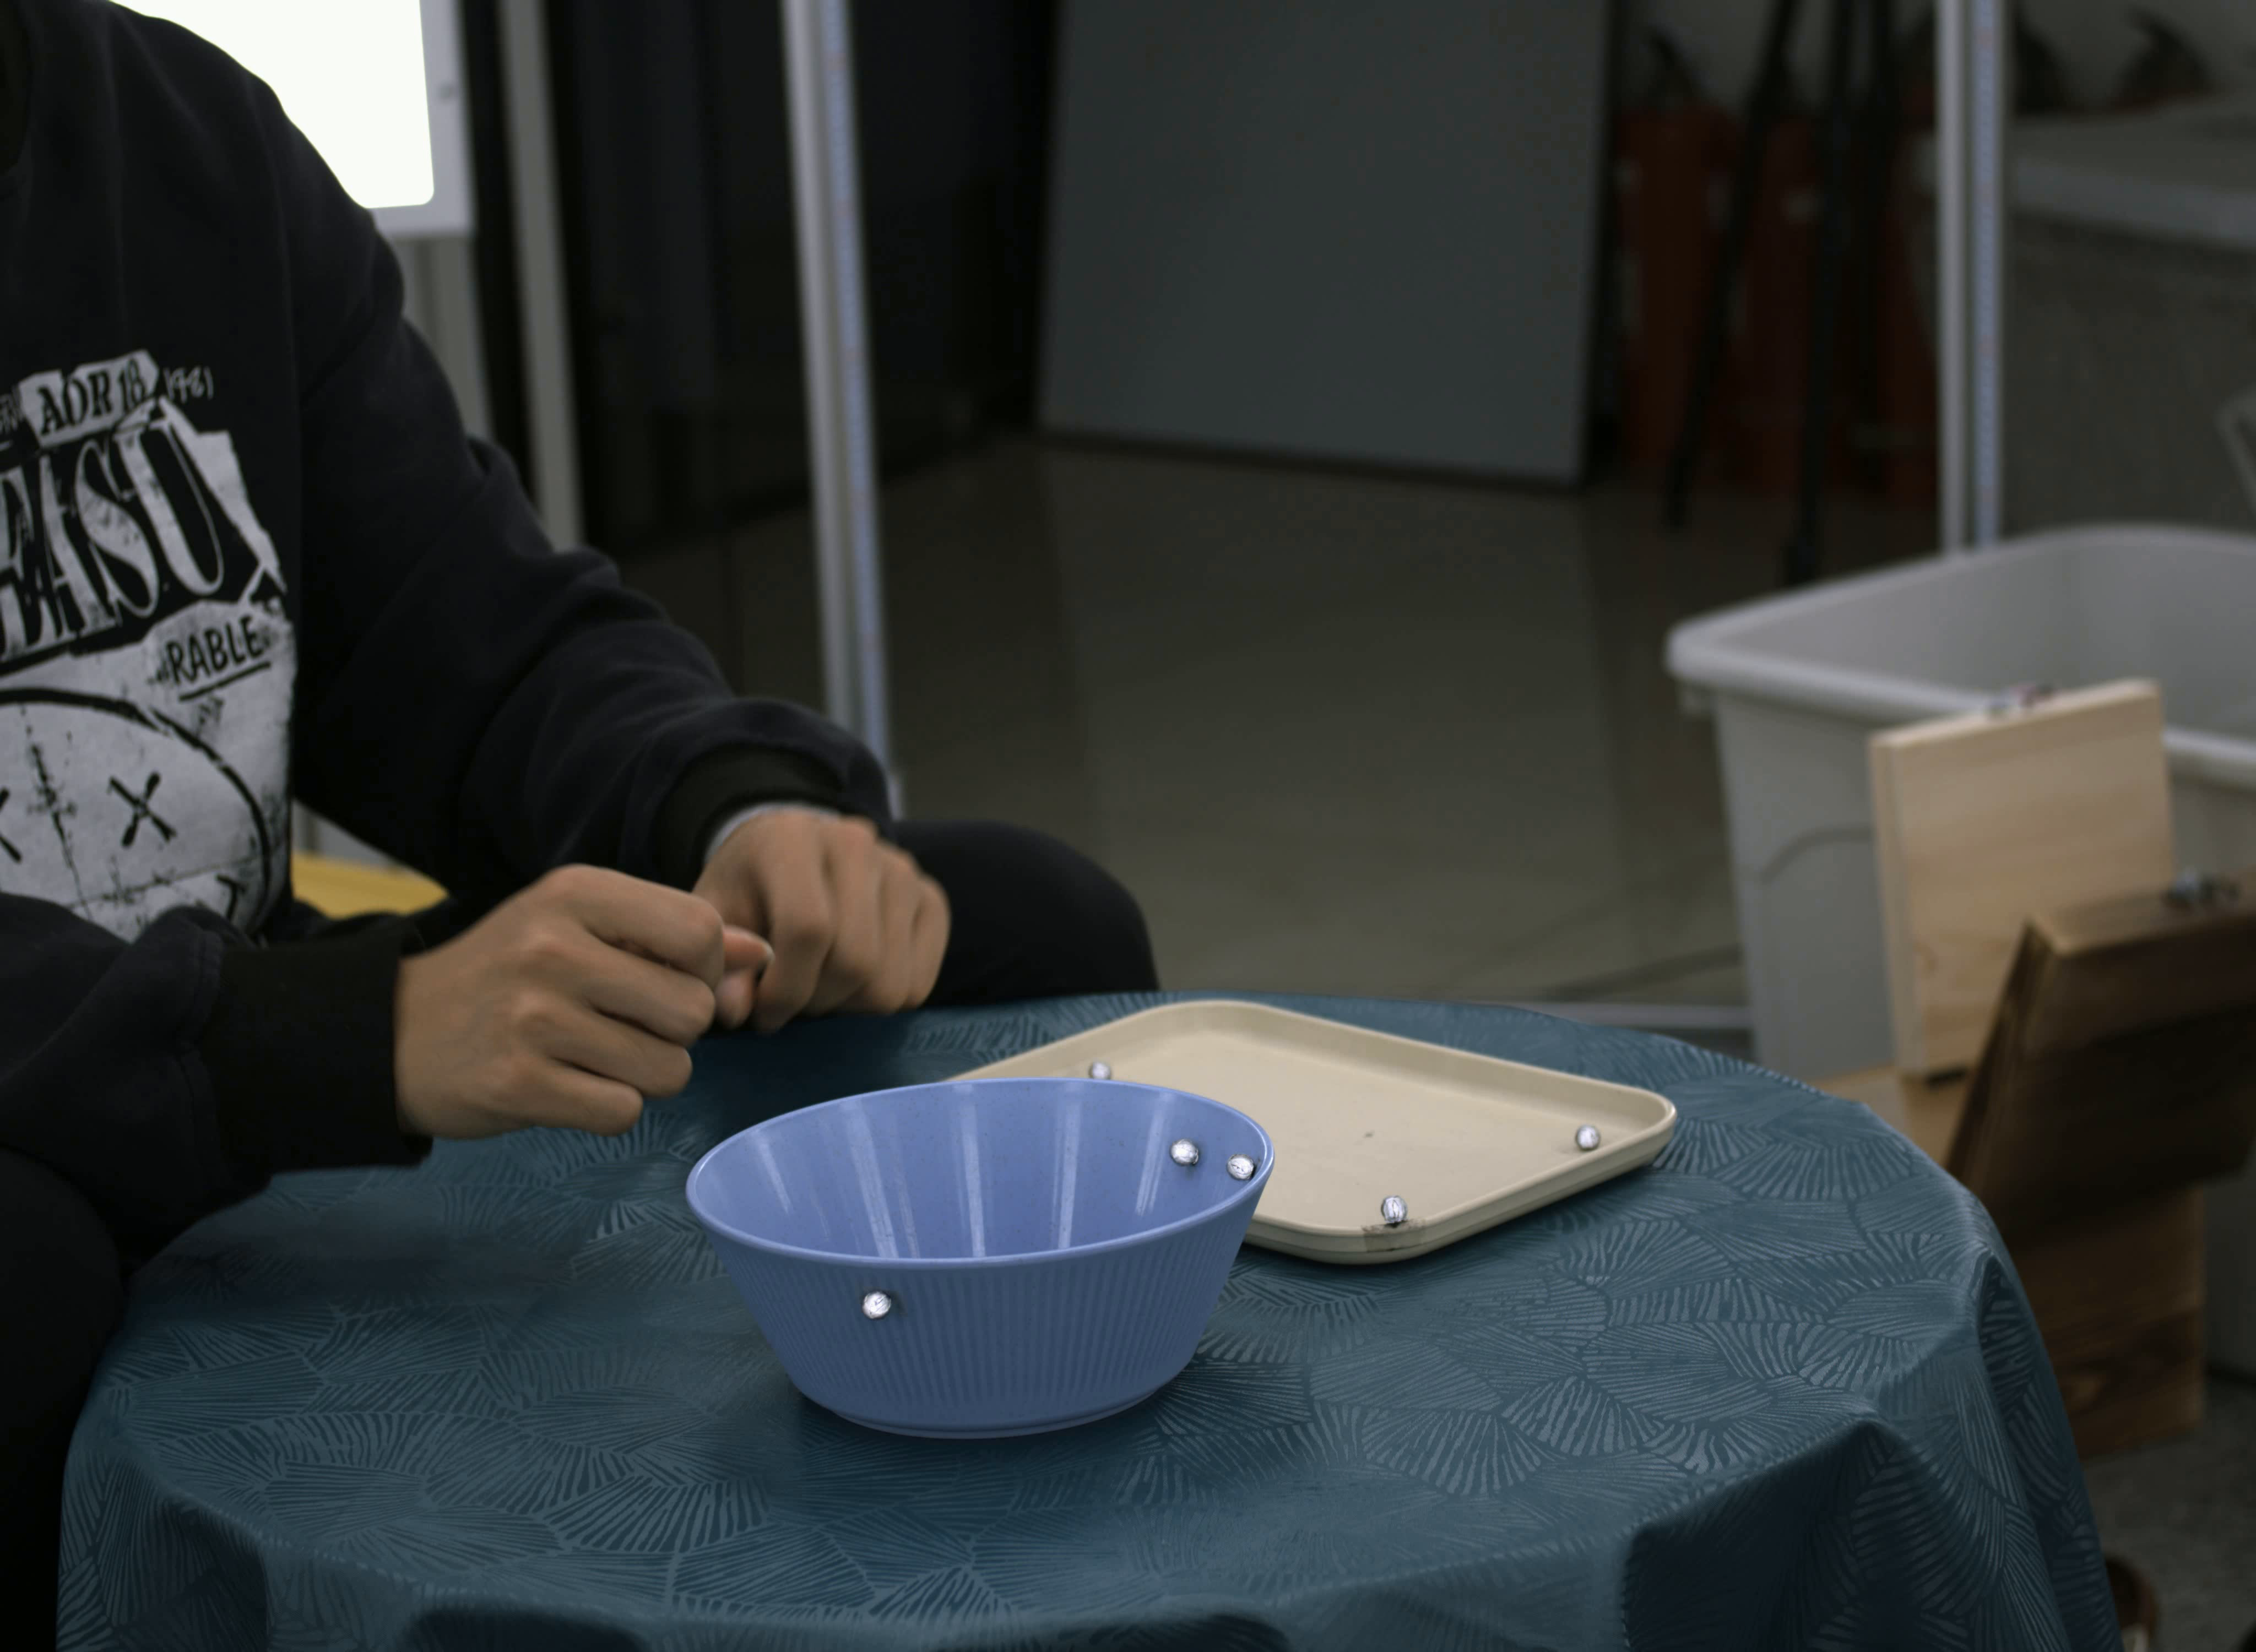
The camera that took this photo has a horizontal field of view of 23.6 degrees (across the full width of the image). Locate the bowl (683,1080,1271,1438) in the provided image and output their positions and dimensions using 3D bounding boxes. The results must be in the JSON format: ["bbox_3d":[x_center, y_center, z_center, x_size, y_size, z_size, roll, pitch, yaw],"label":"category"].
[{"bbox_3d":[-0.043,0.130,1.598,0.174,0.071,0.176,-3,14,0],"label":"bowl"}]

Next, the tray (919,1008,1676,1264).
[{"bbox_3d":[0.051,0.102,1.795,0.168,0.017,0.242,-16,18,-42],"label":"tray"}]
